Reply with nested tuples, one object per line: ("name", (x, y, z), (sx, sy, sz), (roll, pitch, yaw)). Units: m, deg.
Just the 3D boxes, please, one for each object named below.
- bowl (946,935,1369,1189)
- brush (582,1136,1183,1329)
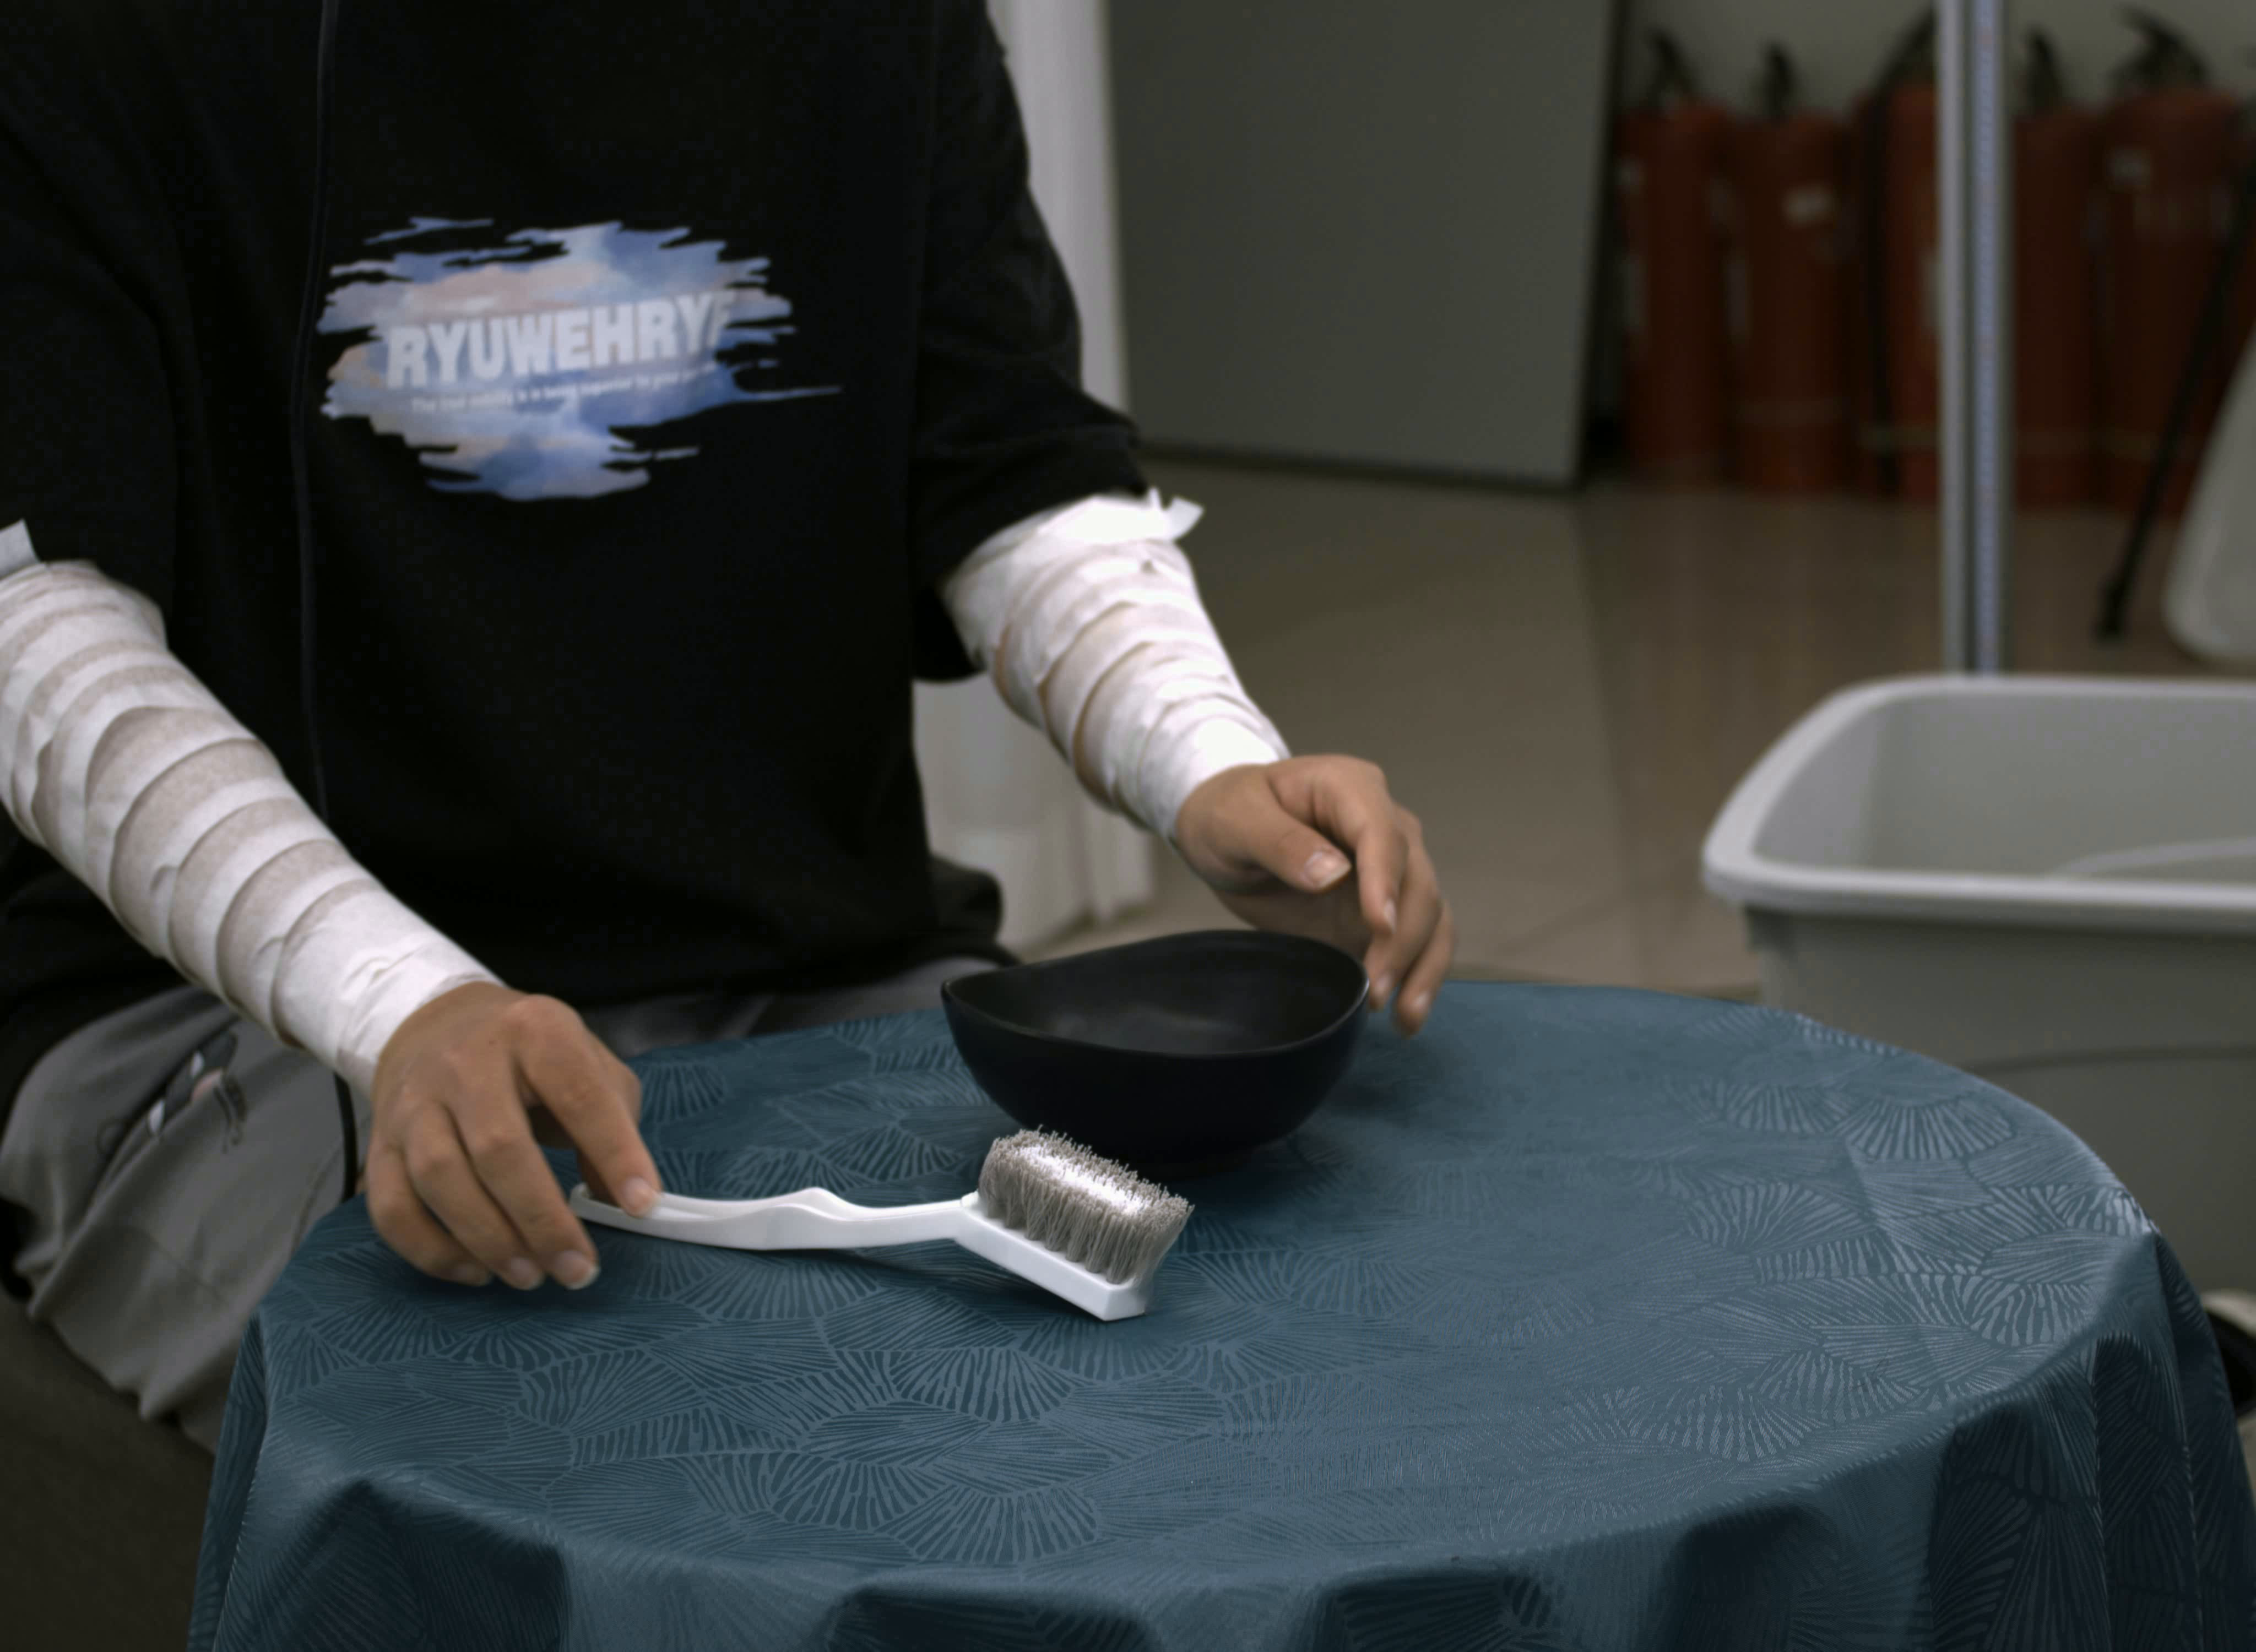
("bowl", (0.010, 0.081, 1.801), (0.134, 0.067, 0.172), (-10, 13, -27))
("brush", (-0.084, 0.116, 1.716), (0.245, 0.051, 0.034), (8, 19, 39))
